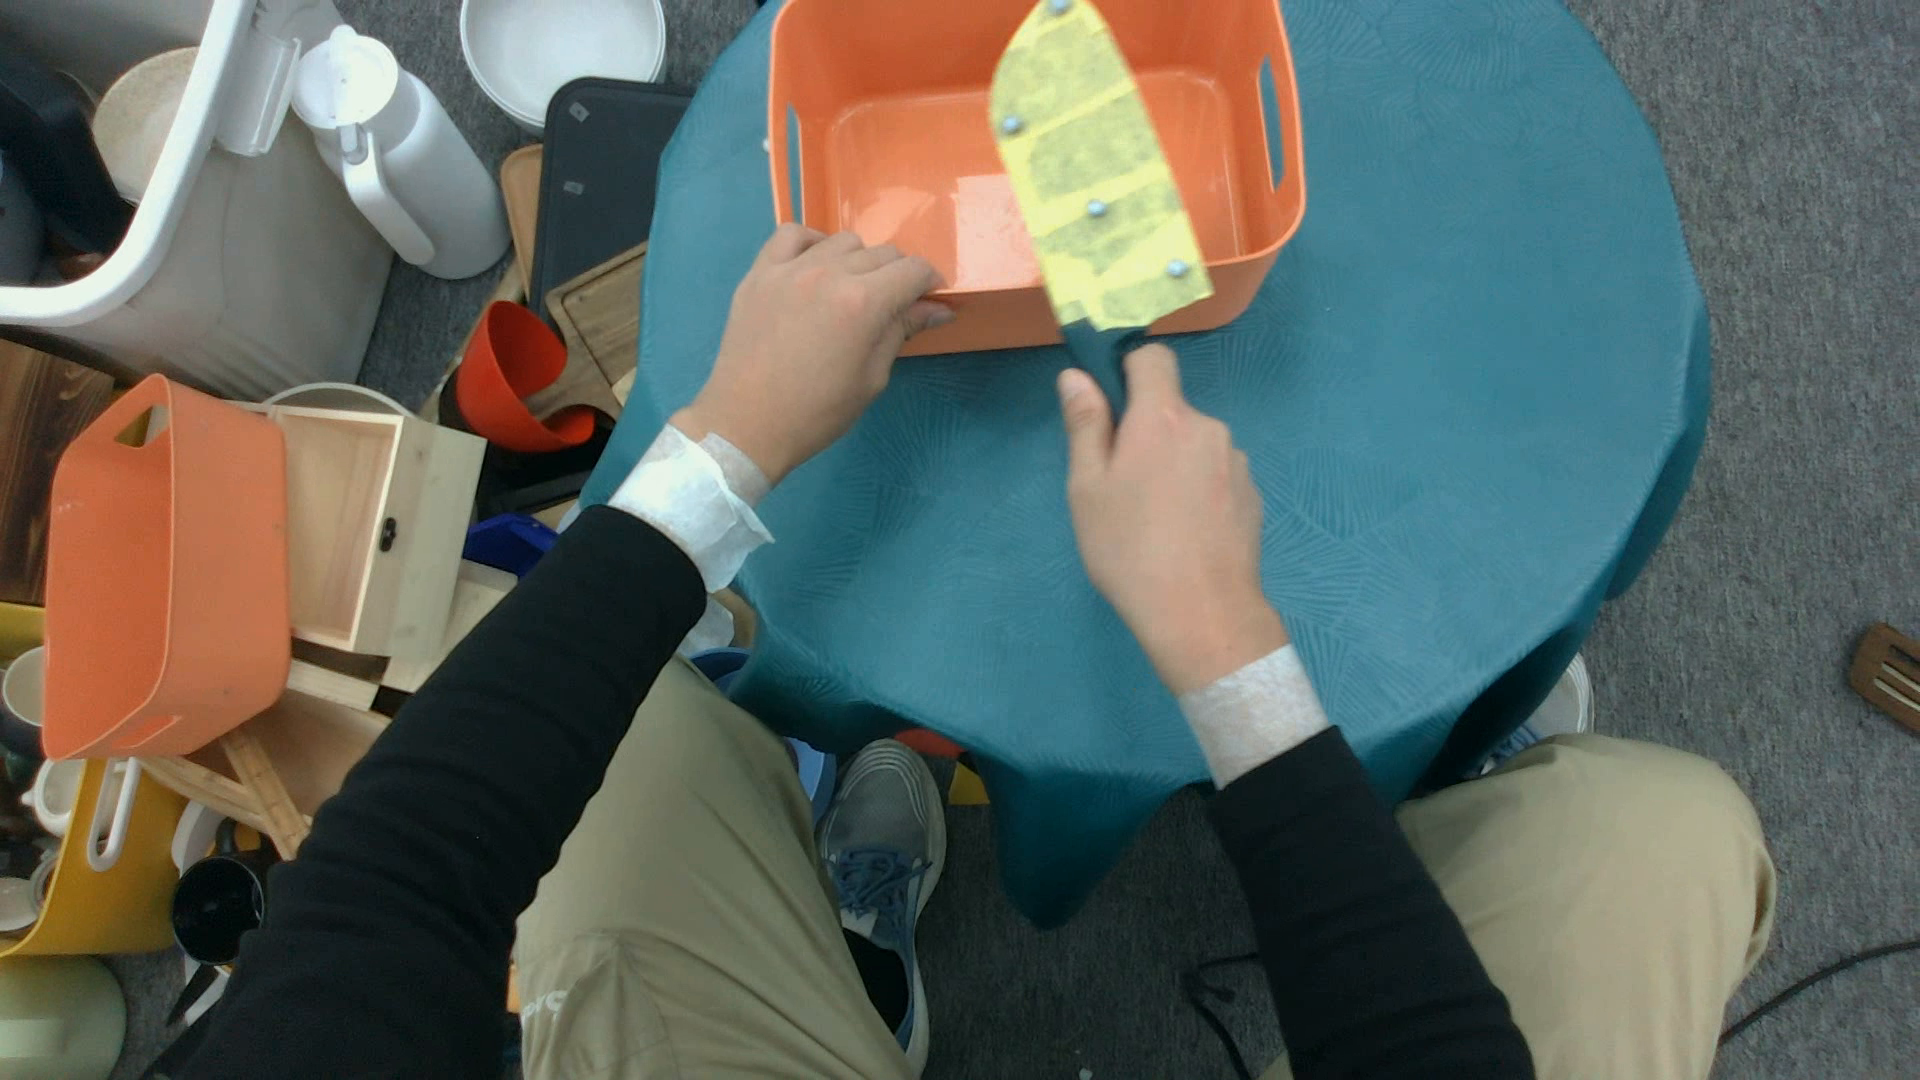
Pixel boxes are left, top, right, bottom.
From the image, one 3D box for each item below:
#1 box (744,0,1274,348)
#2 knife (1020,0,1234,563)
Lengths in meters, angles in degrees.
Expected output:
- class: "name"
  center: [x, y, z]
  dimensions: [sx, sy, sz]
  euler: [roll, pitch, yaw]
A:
- class: "box"
  center: [0.026, -0.209, 0.762]
  dimensions: [0.273, 0.102, 0.200]
  euler: [-4, 72, 1]
- class: "knife"
  center: [0.085, -0.133, 0.641]
  dimensions: [0.081, 0.027, 0.289]
  euler: [-13, 84, 20]
